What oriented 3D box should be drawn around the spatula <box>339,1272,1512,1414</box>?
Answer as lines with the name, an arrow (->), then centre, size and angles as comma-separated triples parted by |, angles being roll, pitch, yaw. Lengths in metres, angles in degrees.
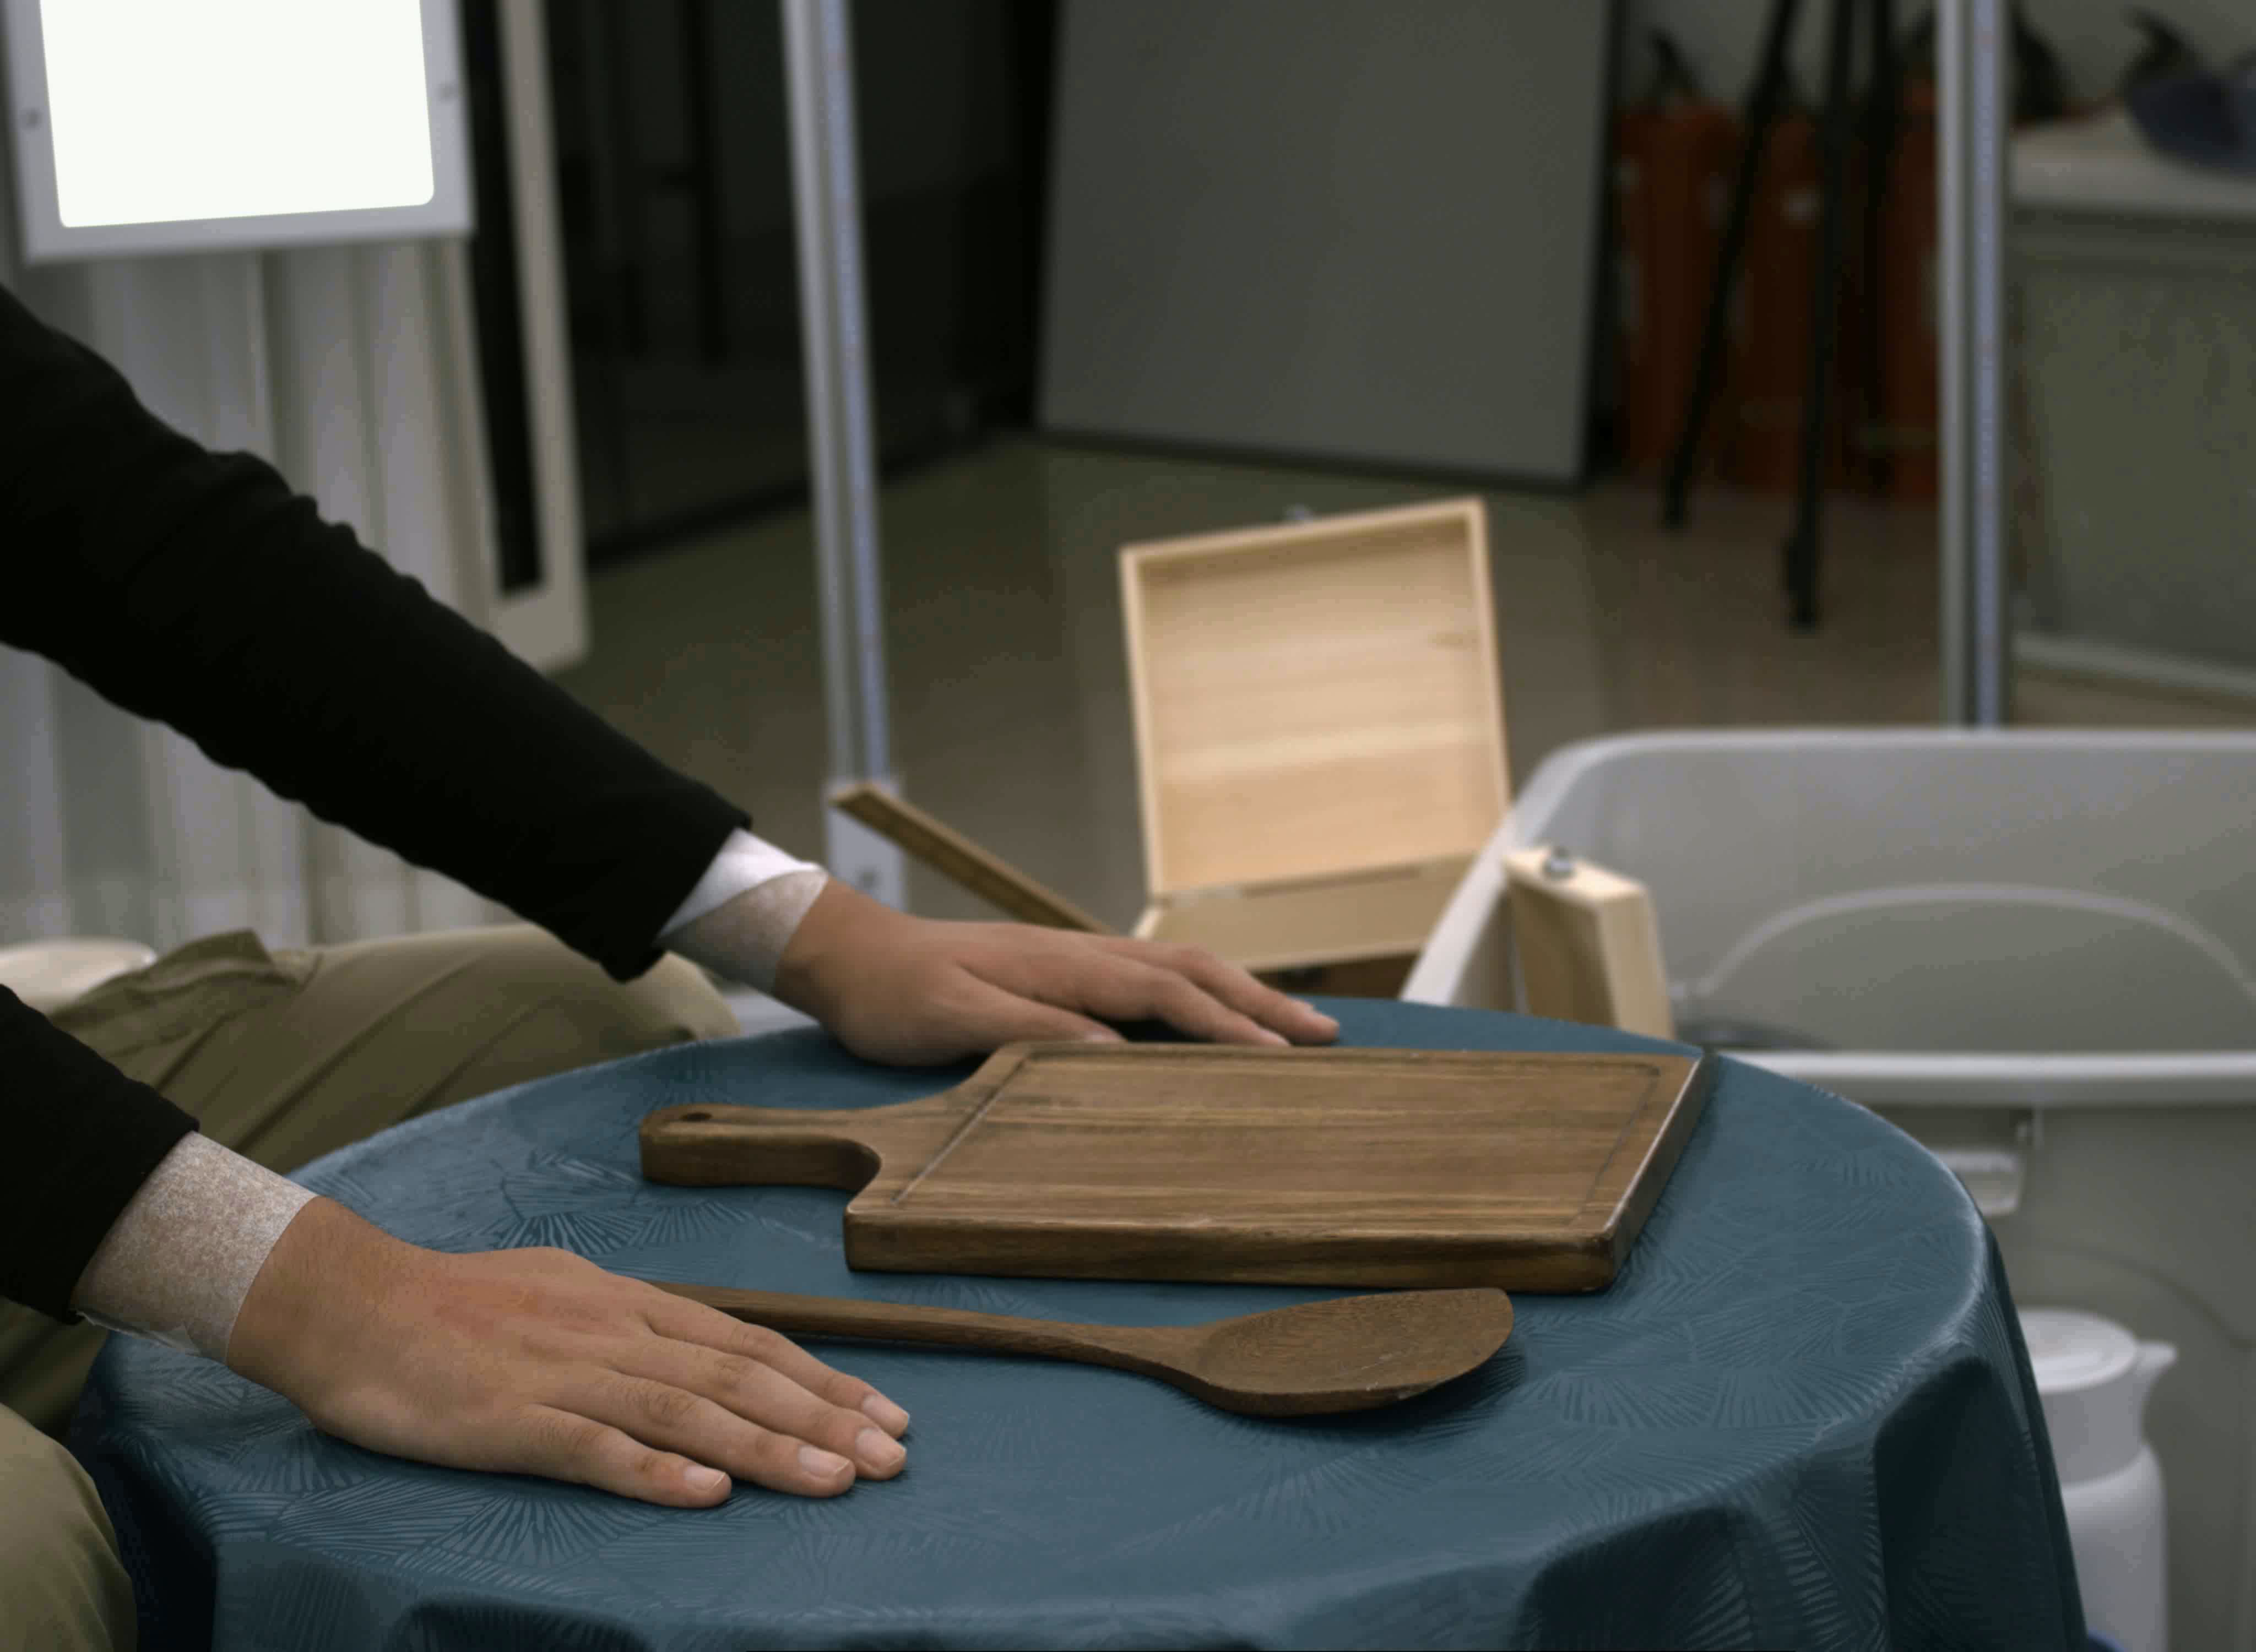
spatula -> -0.070, 0.152, 1.637 | 0.386, 0.016, 0.095 | 1, 14, 22

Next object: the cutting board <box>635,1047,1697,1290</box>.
cutting board -> 0.004, 0.109, 1.774 | 0.351, 0.023, 0.199 | 0, 14, 16
